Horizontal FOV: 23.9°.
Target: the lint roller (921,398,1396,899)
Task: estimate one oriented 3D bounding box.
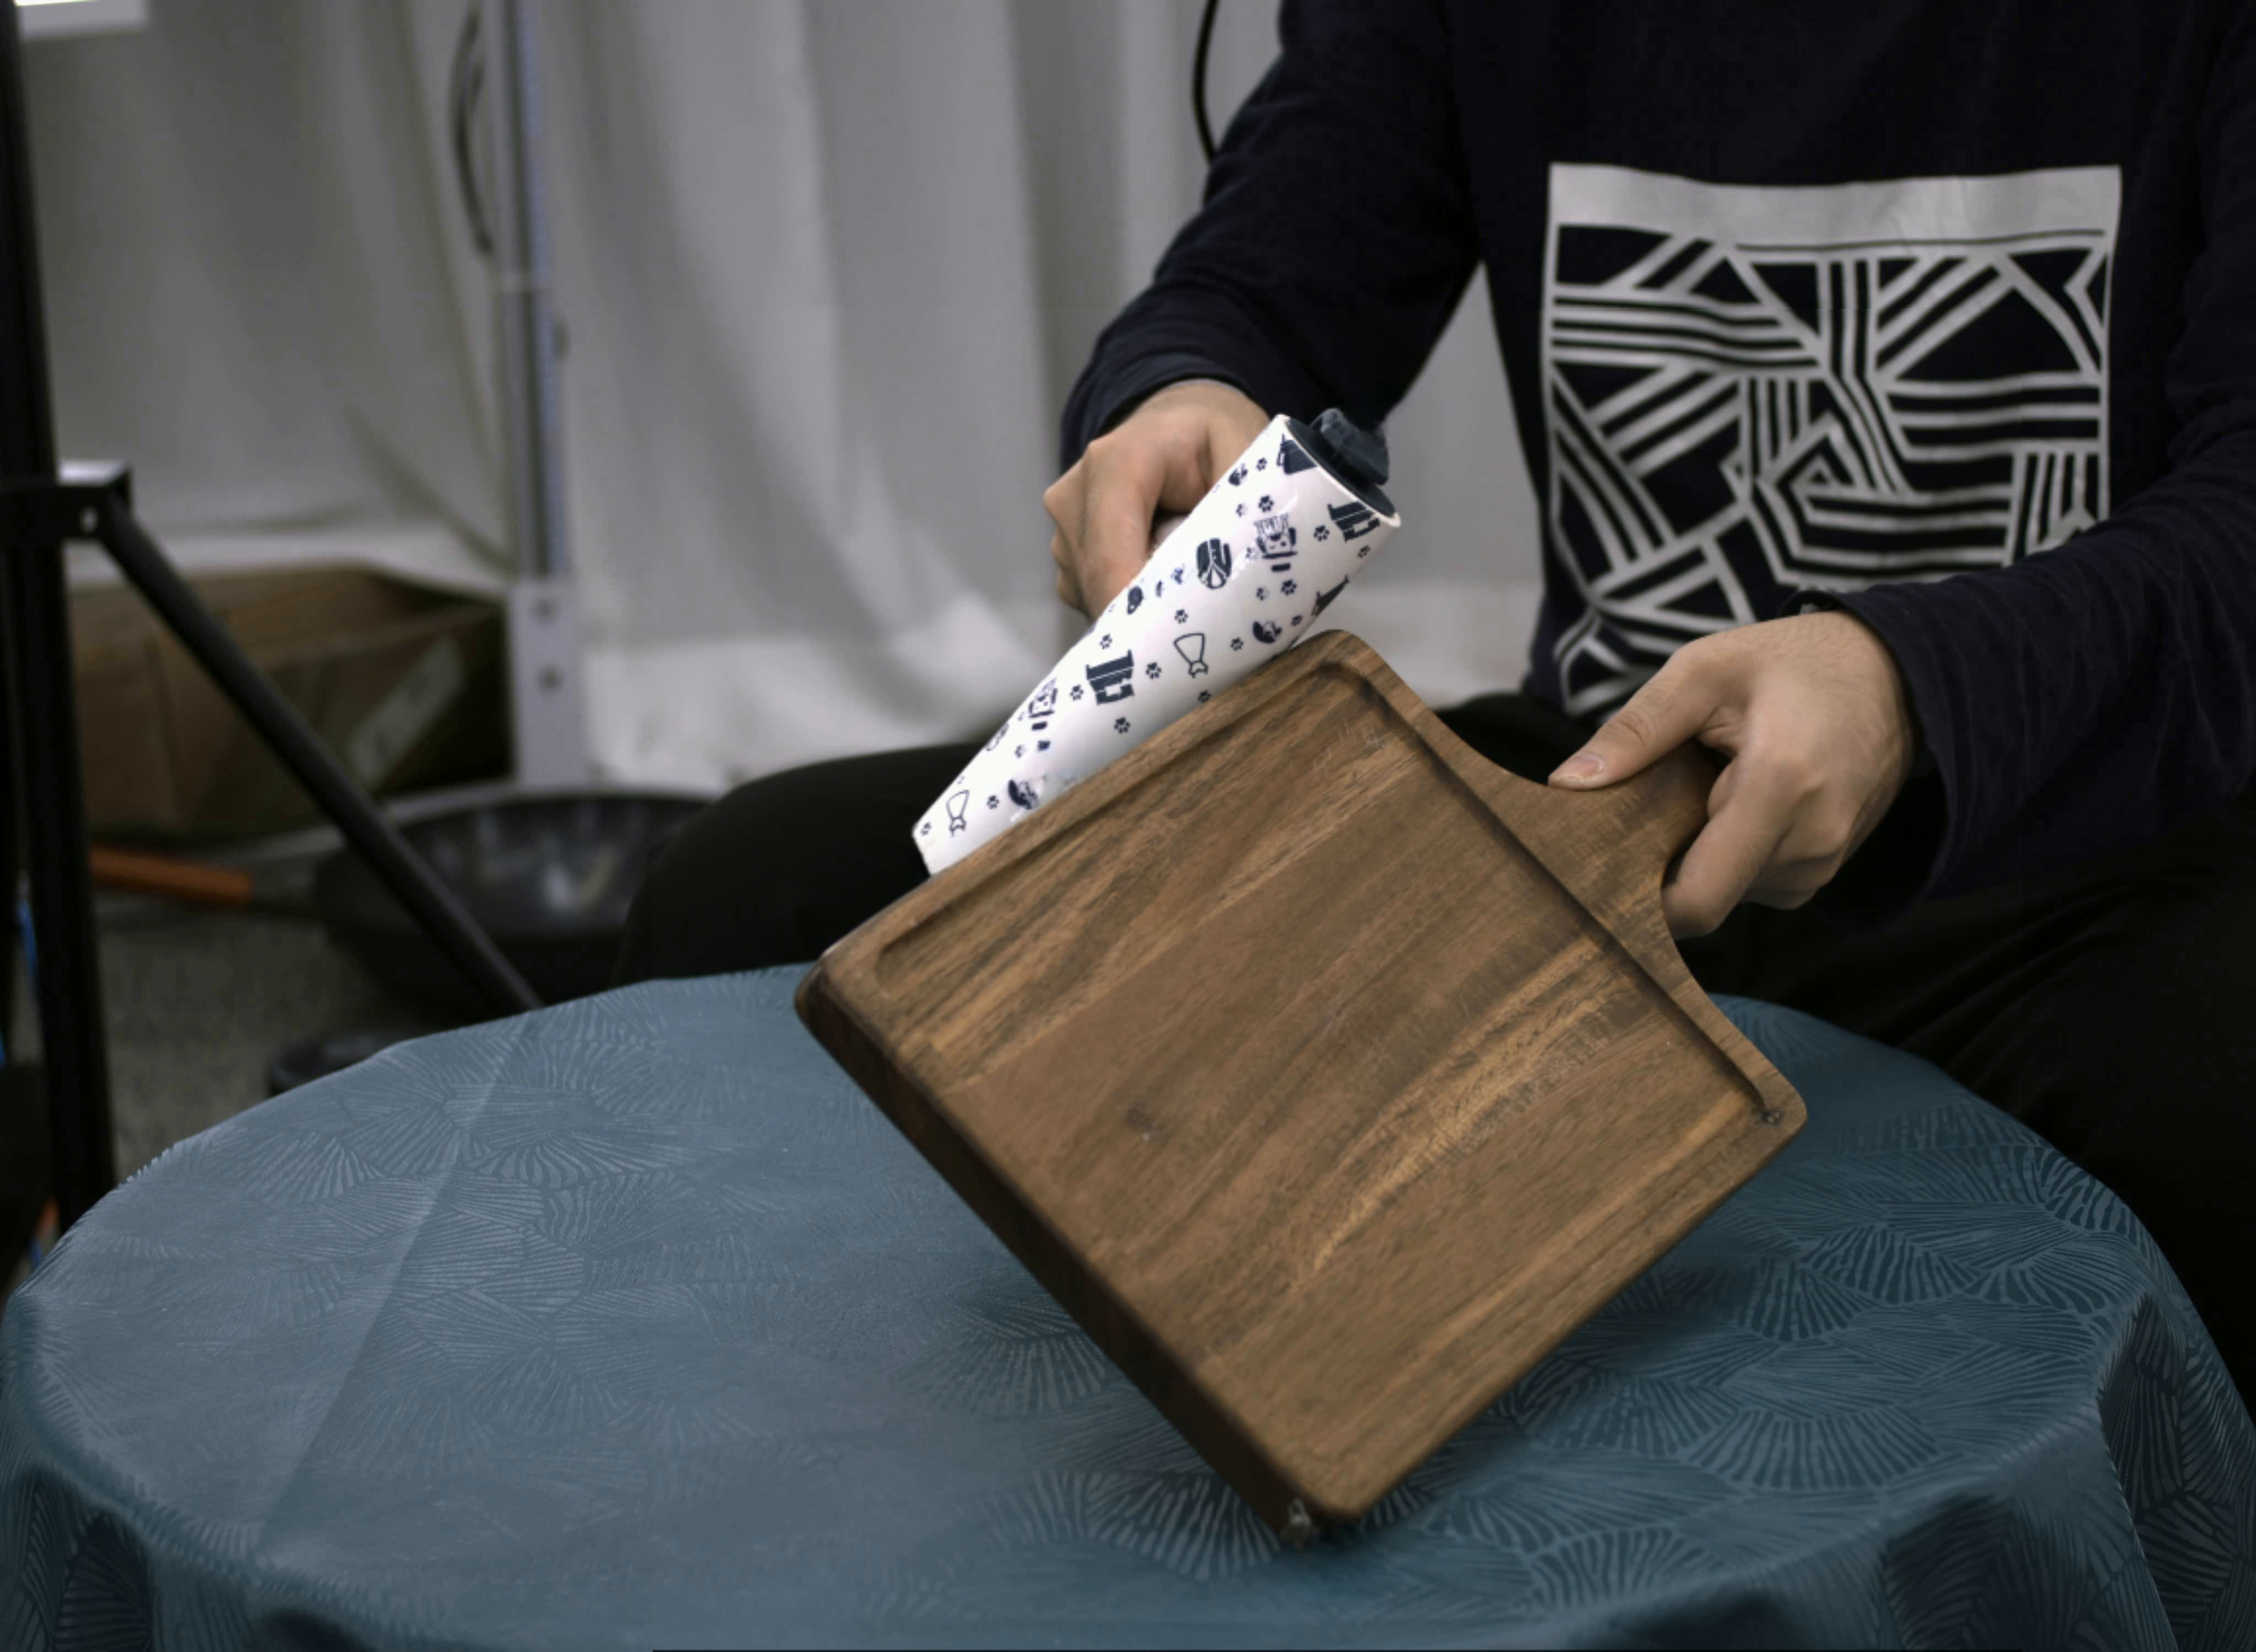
[{"bbox_3d":[0.013,-0.065,1.603,0.050,0.177,0.247,39,11,-6],"label":"lint roller"}]

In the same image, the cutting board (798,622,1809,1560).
[{"bbox_3d":[0.081,0.043,1.435,0.203,0.023,0.346,45,42,10],"label":"cutting board"}]
